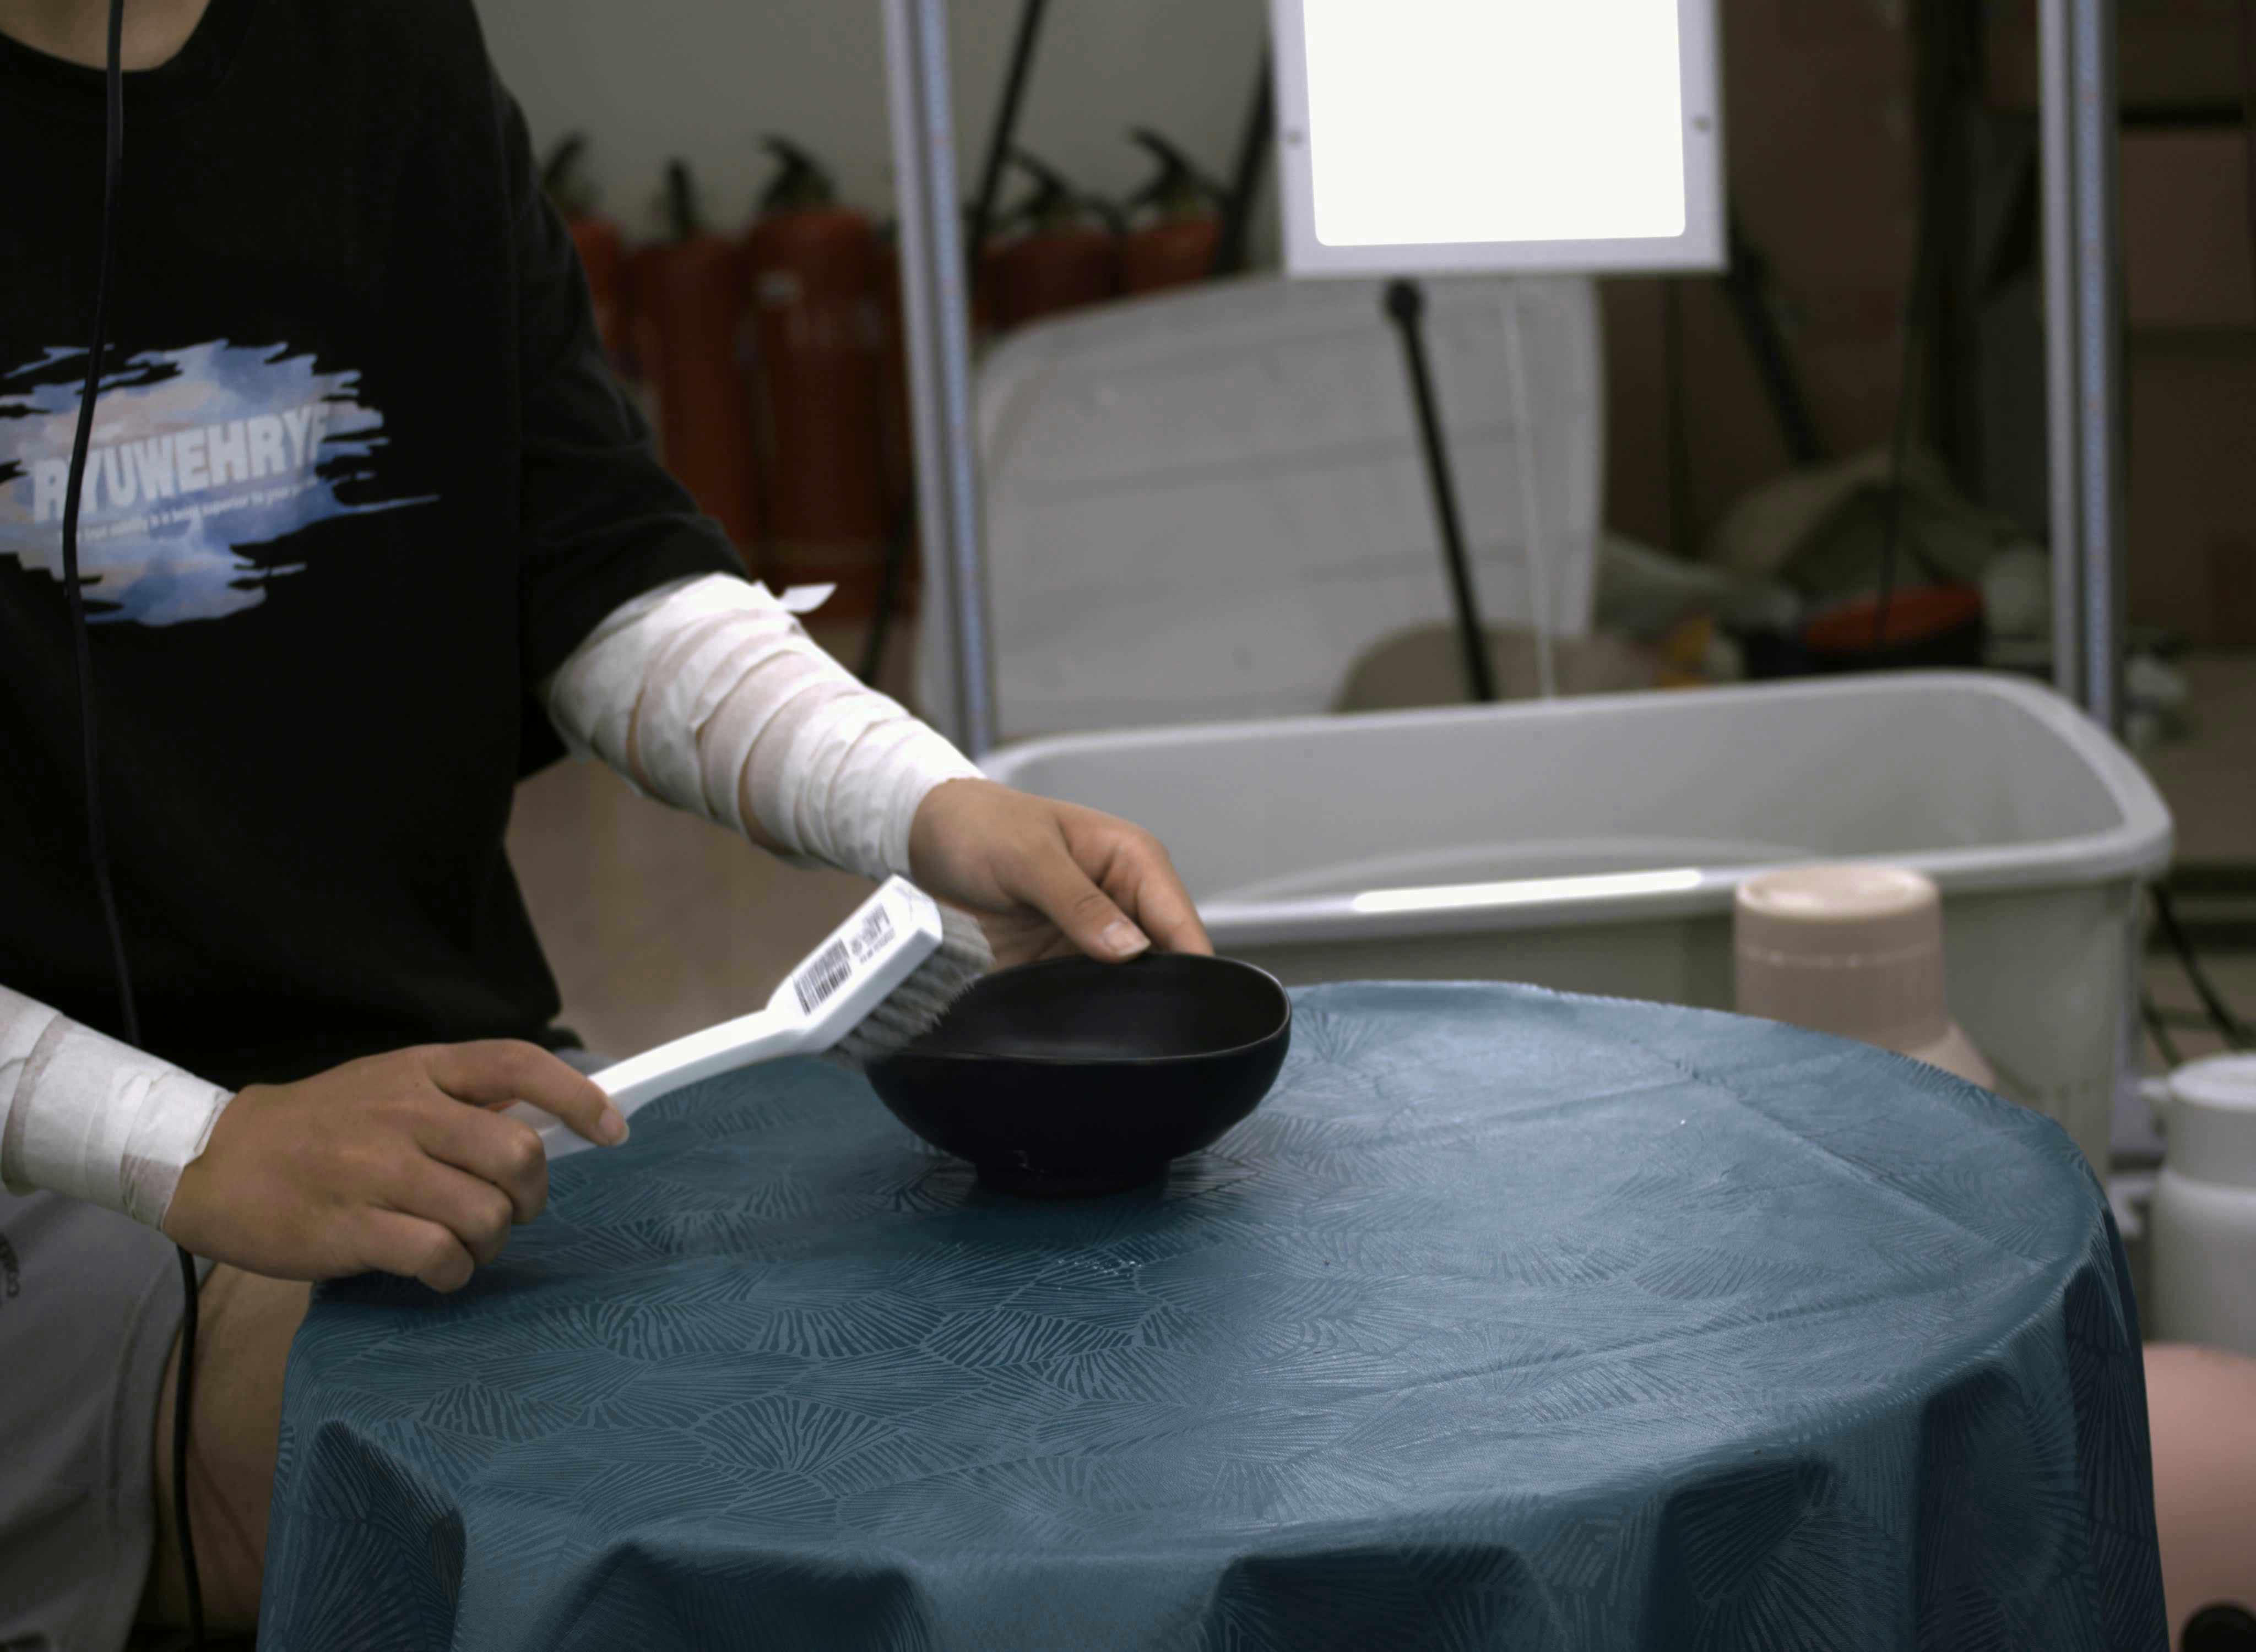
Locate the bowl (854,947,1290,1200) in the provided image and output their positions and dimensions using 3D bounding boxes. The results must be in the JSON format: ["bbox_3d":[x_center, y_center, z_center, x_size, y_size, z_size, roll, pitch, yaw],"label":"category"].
[{"bbox_3d":[-0.019,0.090,1.919,0.174,0.067,0.134,3,16,40],"label":"bowl"}]

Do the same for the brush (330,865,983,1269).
[{"bbox_3d":[-0.158,0.093,1.875,0.243,0.050,0.035,-32,40,-1],"label":"brush"}]
